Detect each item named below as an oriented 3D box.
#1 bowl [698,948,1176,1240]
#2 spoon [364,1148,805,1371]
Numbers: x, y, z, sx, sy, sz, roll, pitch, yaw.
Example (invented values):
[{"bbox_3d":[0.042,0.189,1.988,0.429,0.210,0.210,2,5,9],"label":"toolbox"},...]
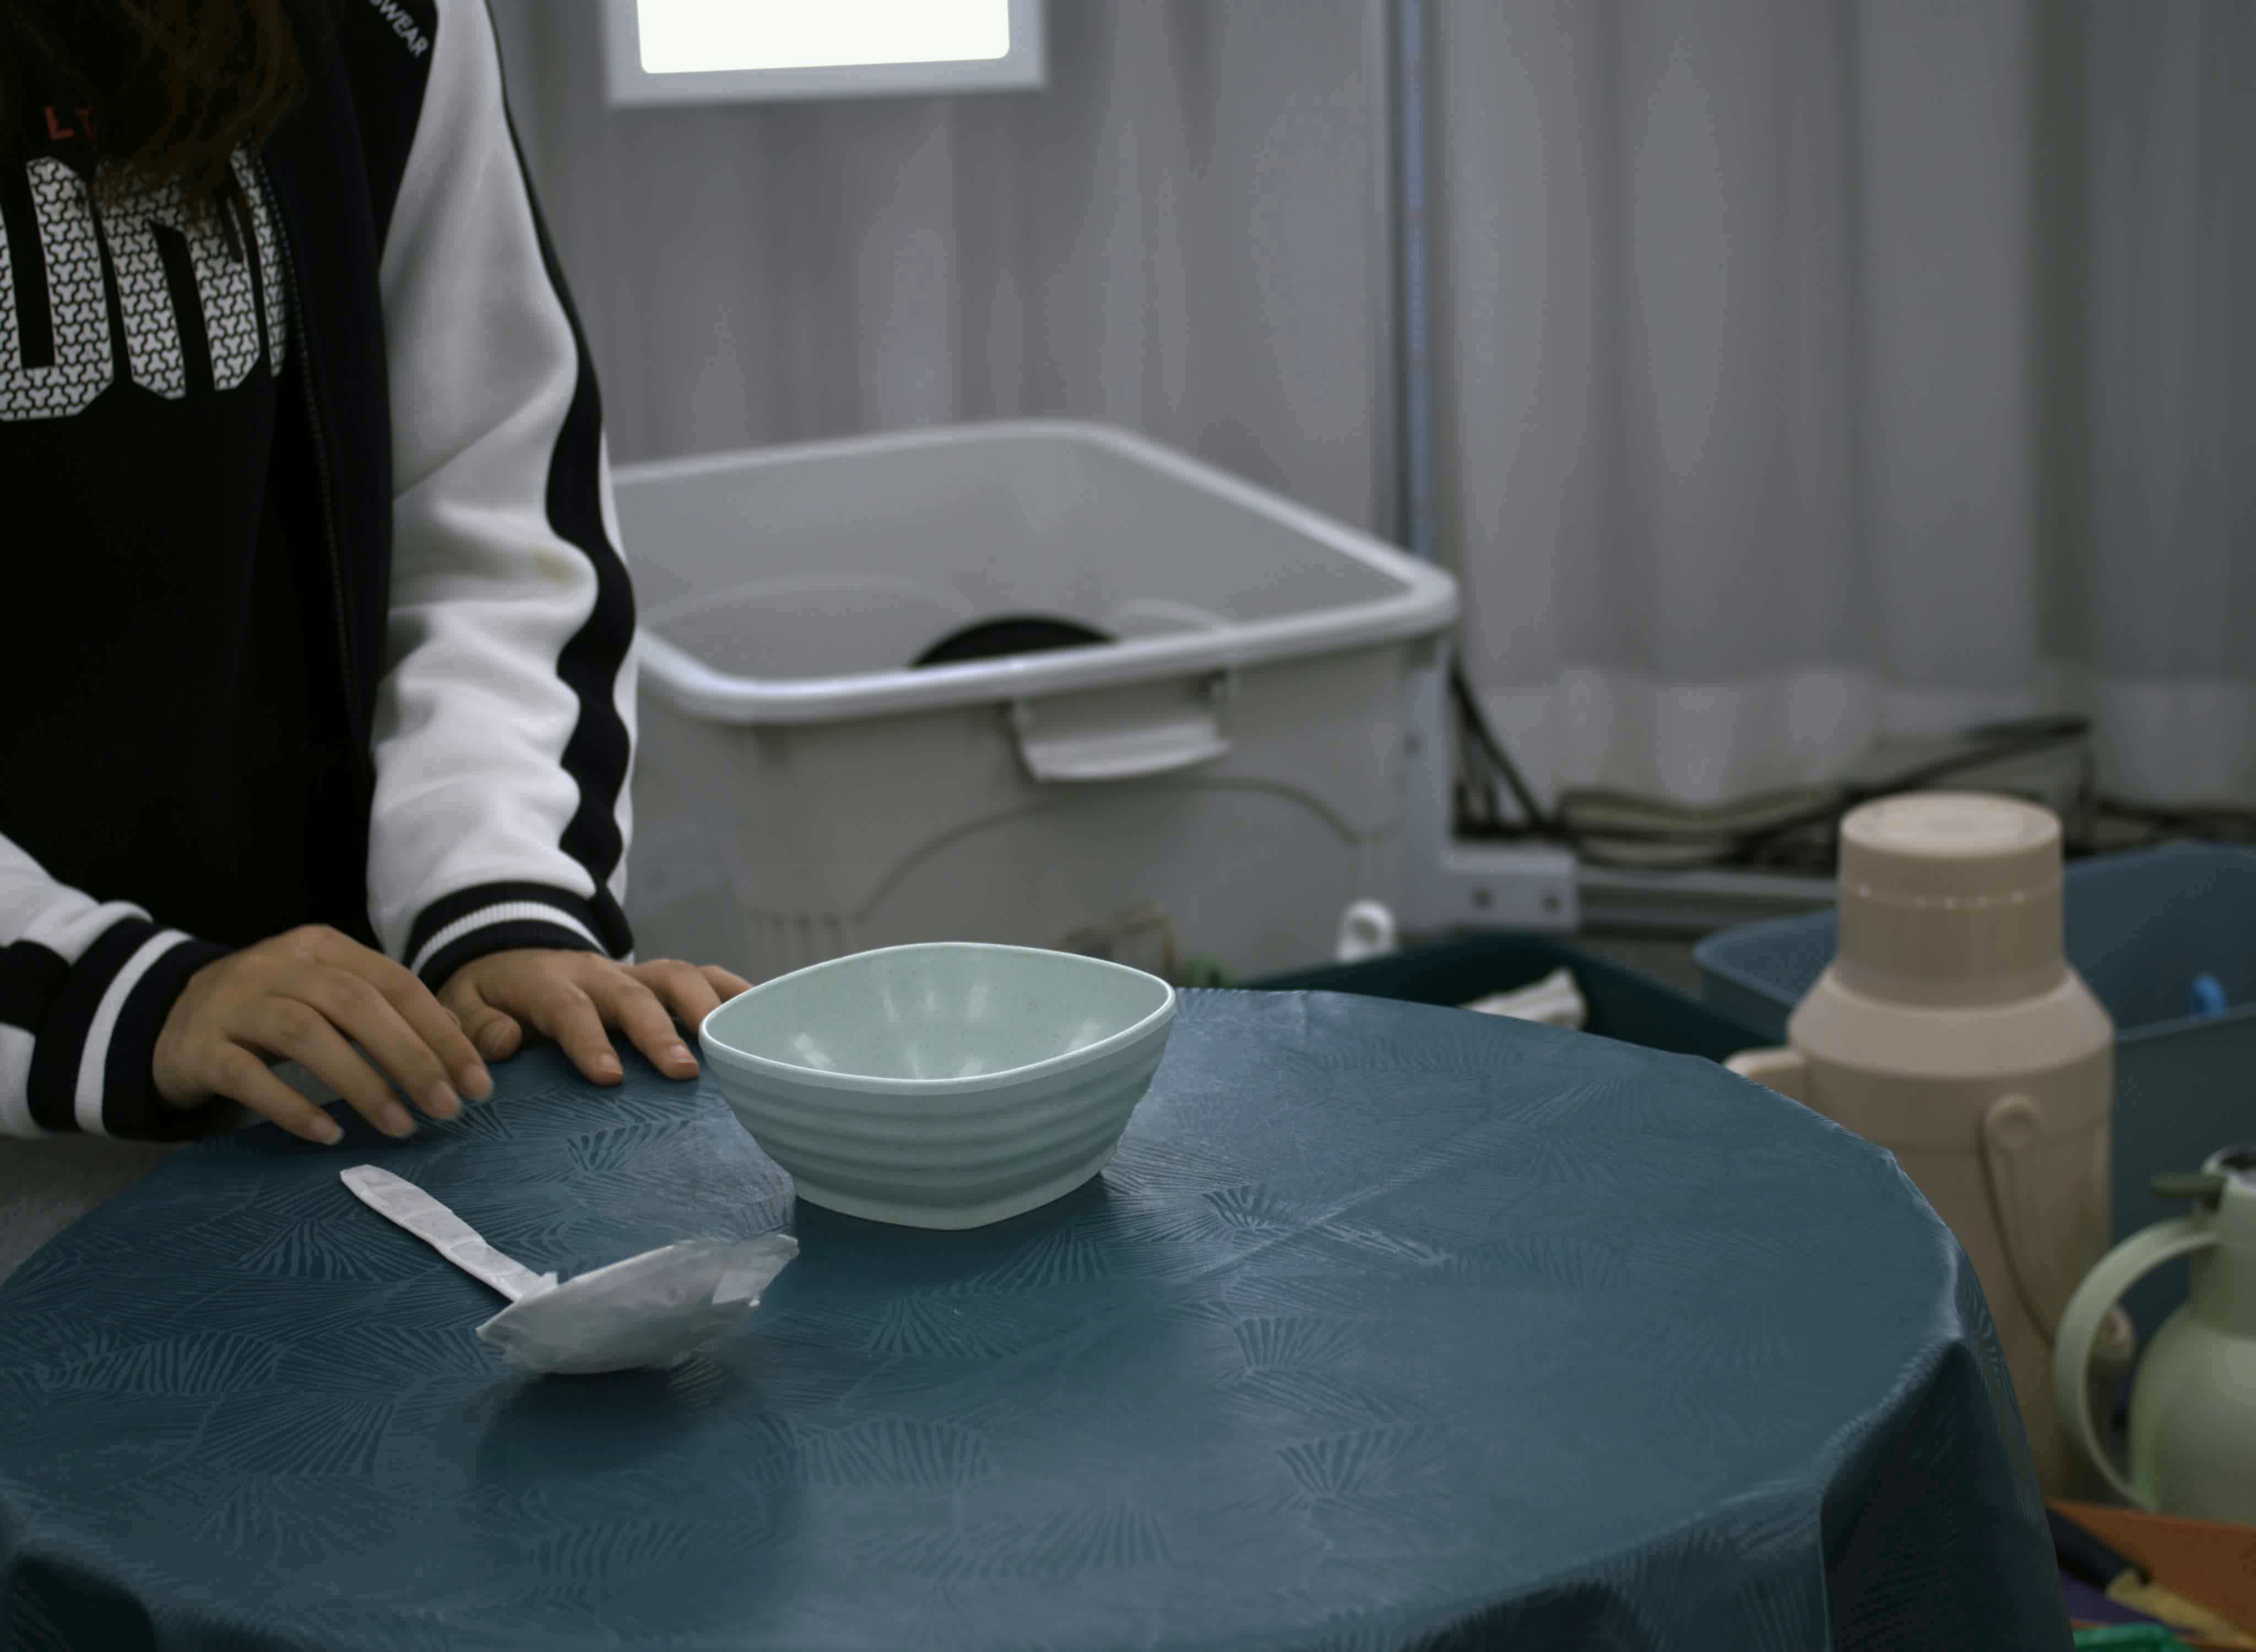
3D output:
[{"bbox_3d":[-0.059,0.088,1.727,0.151,0.058,0.152,-3,15,0],"label":"bowl"},{"bbox_3d":[-0.178,0.112,1.649,0.100,0.059,0.279,-4,14,-25],"label":"spoon"}]
